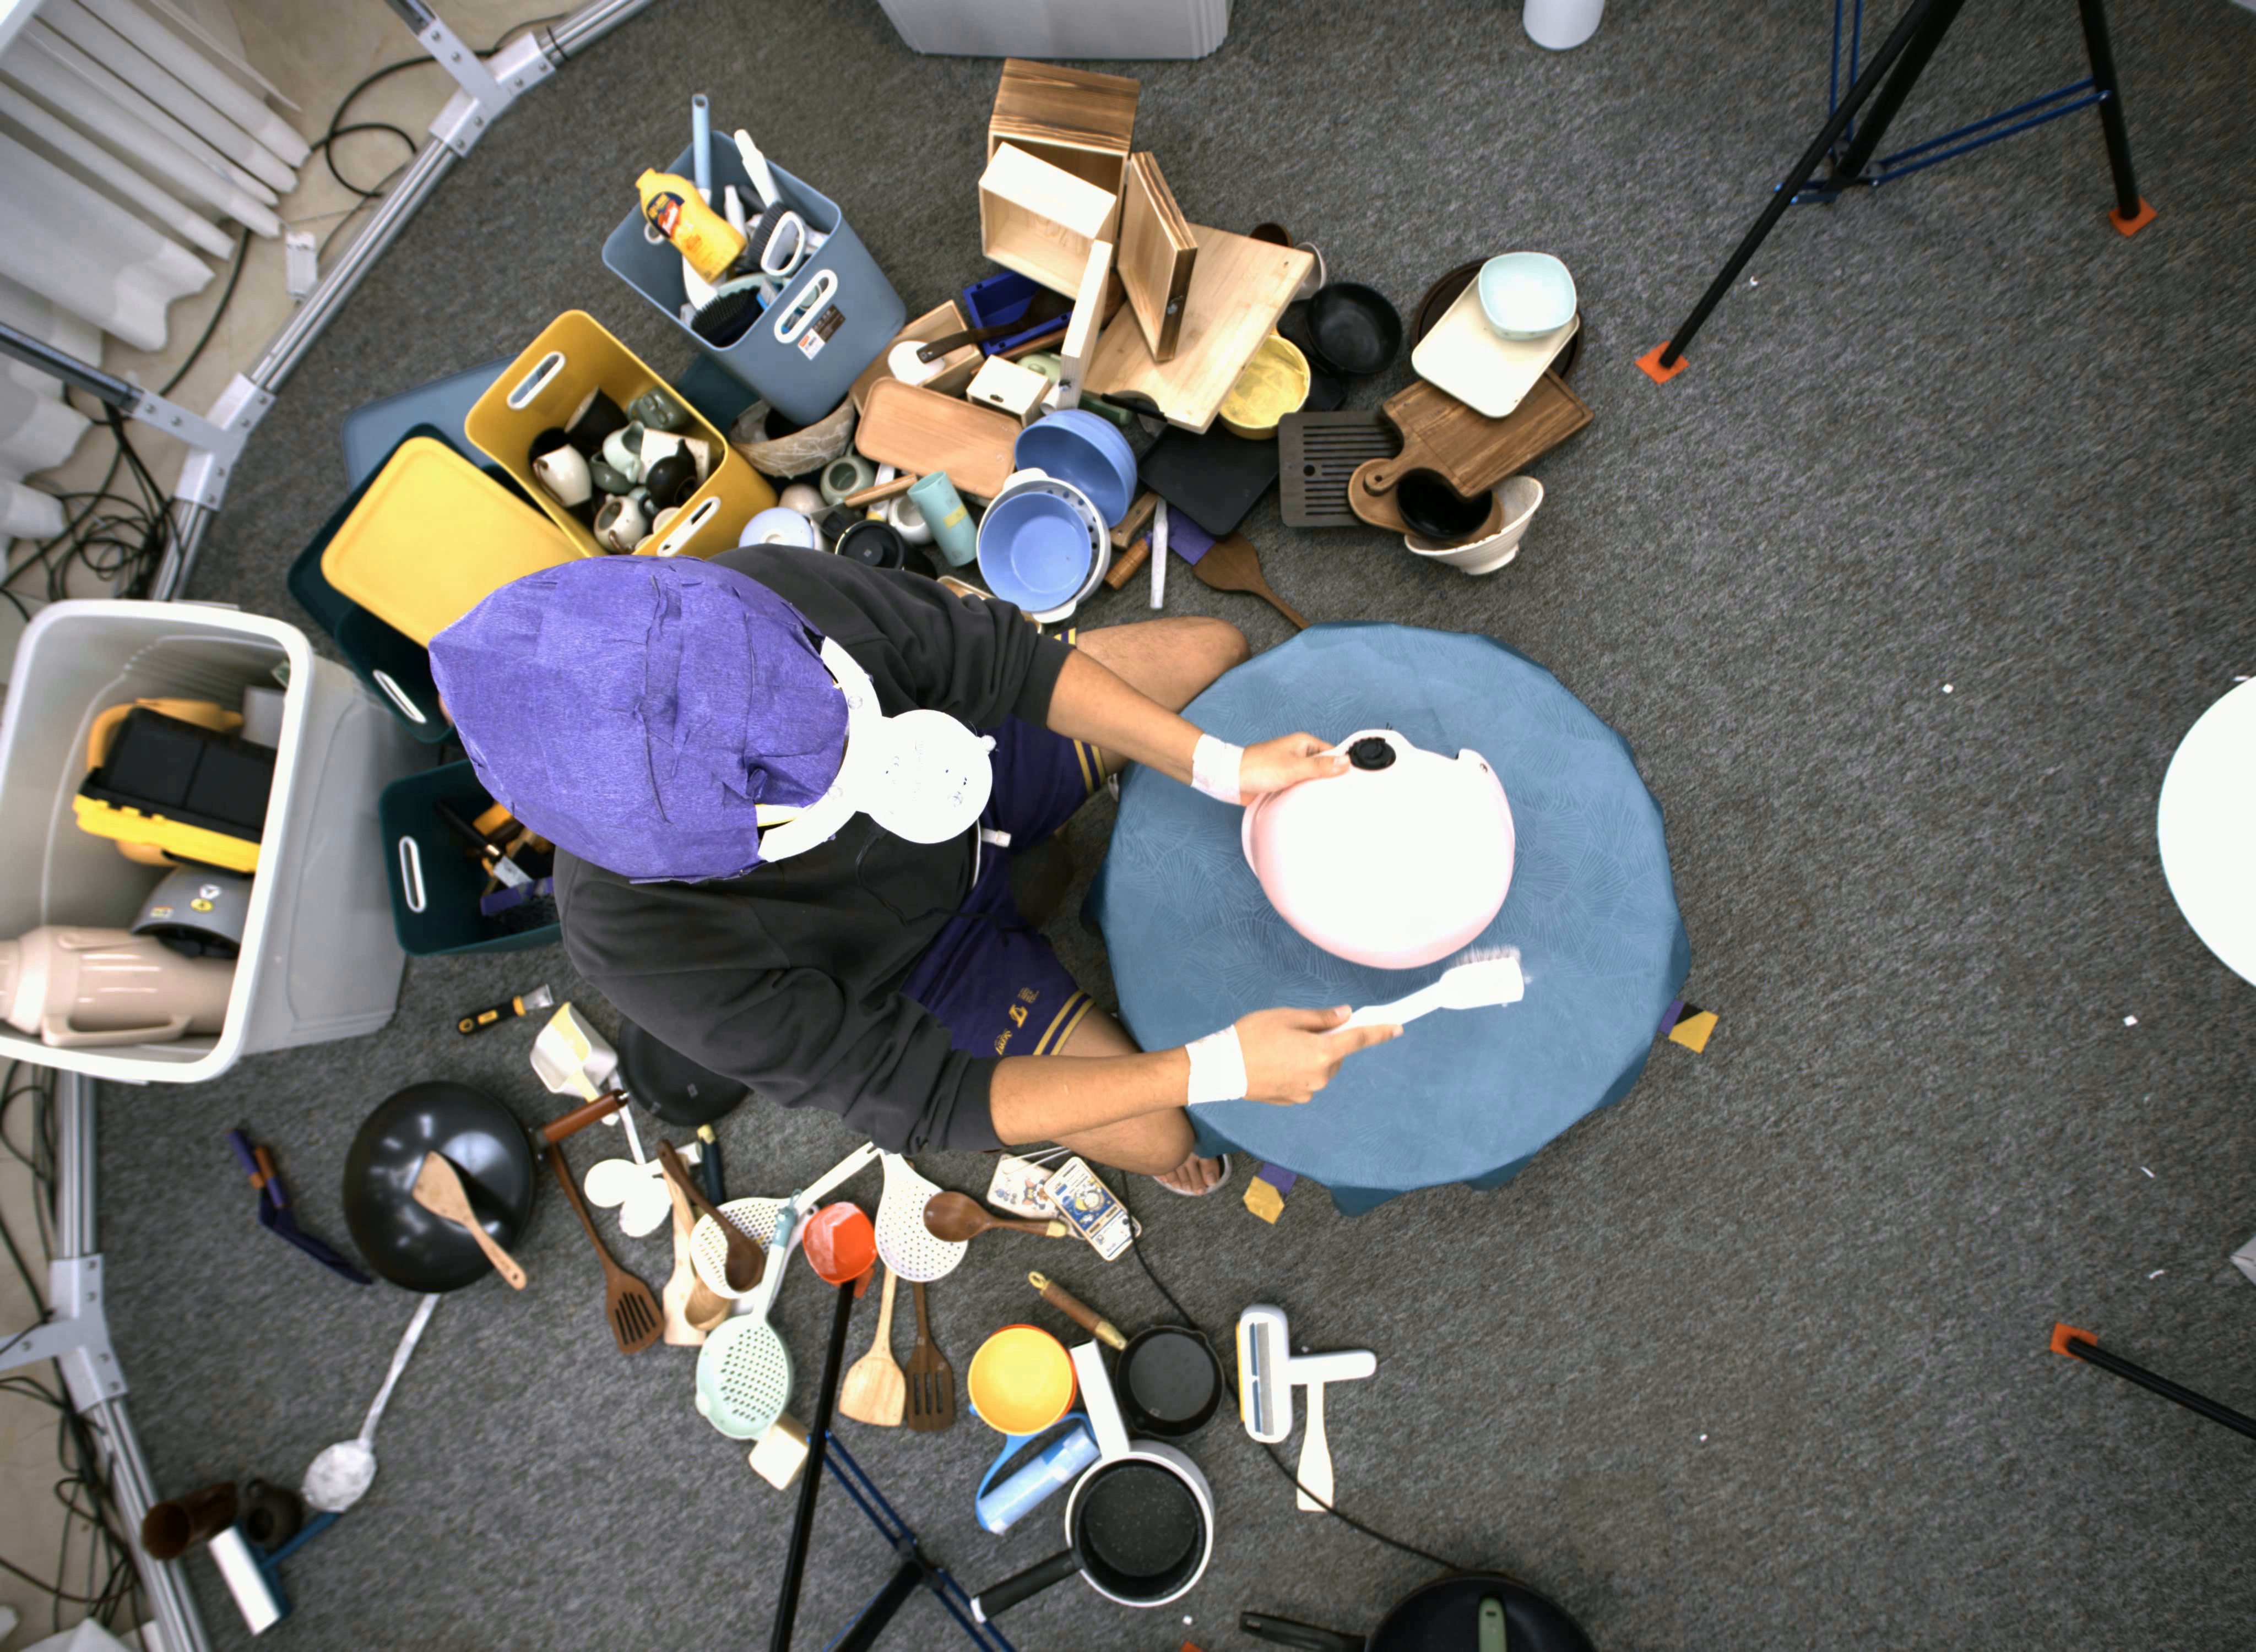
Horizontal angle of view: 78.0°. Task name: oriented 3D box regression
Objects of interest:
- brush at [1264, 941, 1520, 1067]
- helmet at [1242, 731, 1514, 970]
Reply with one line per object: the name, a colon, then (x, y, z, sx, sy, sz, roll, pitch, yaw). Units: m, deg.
brush: (0.230, 0.152, 1.205, 0.244, 0.049, 0.035, -19, 112, -1)
helmet: (0.242, 0.042, 1.324, 0.266, 0.154, 0.240, 5, 130, 2)
